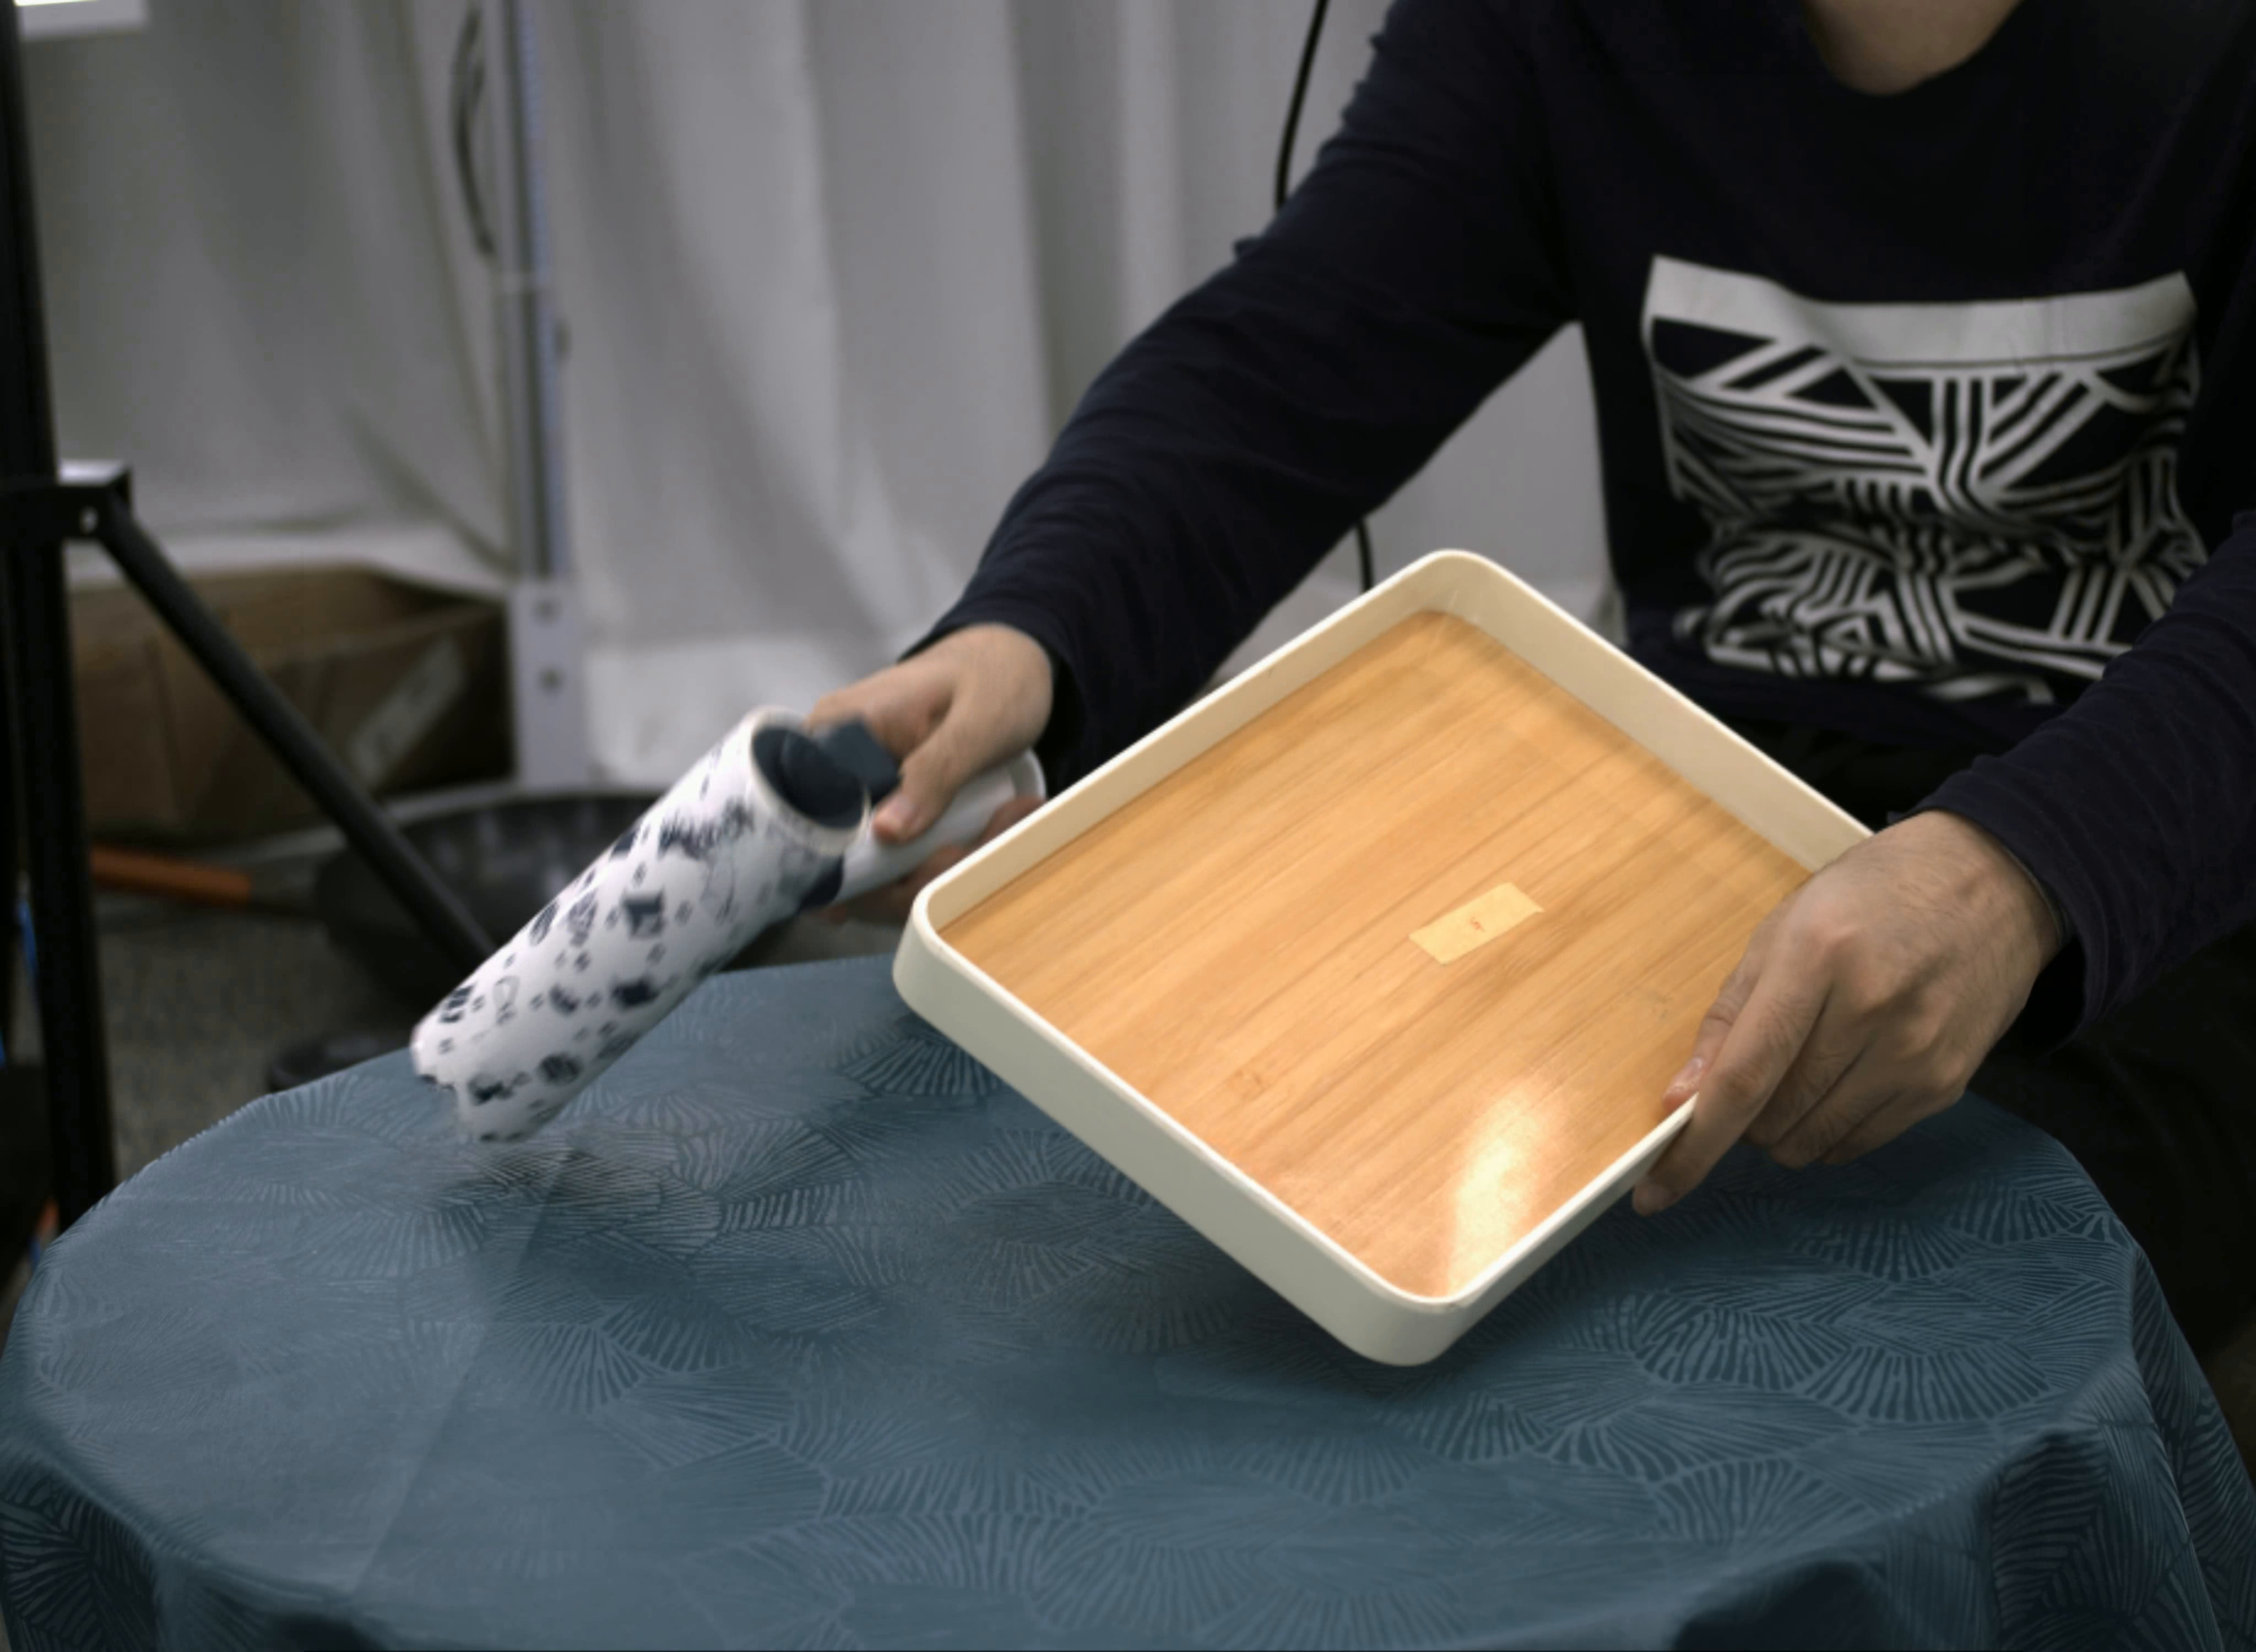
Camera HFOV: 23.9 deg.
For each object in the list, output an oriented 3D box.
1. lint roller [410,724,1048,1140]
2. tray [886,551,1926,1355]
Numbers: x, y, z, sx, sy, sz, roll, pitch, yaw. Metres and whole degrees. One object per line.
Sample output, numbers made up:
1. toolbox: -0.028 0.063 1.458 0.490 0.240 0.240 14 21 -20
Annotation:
1. lint roller: -0.097 0.014 1.644 0.178 0.051 0.242 -38 -8 31
2. tray: 0.085 0.028 1.515 0.194 0.027 0.295 35 40 20
